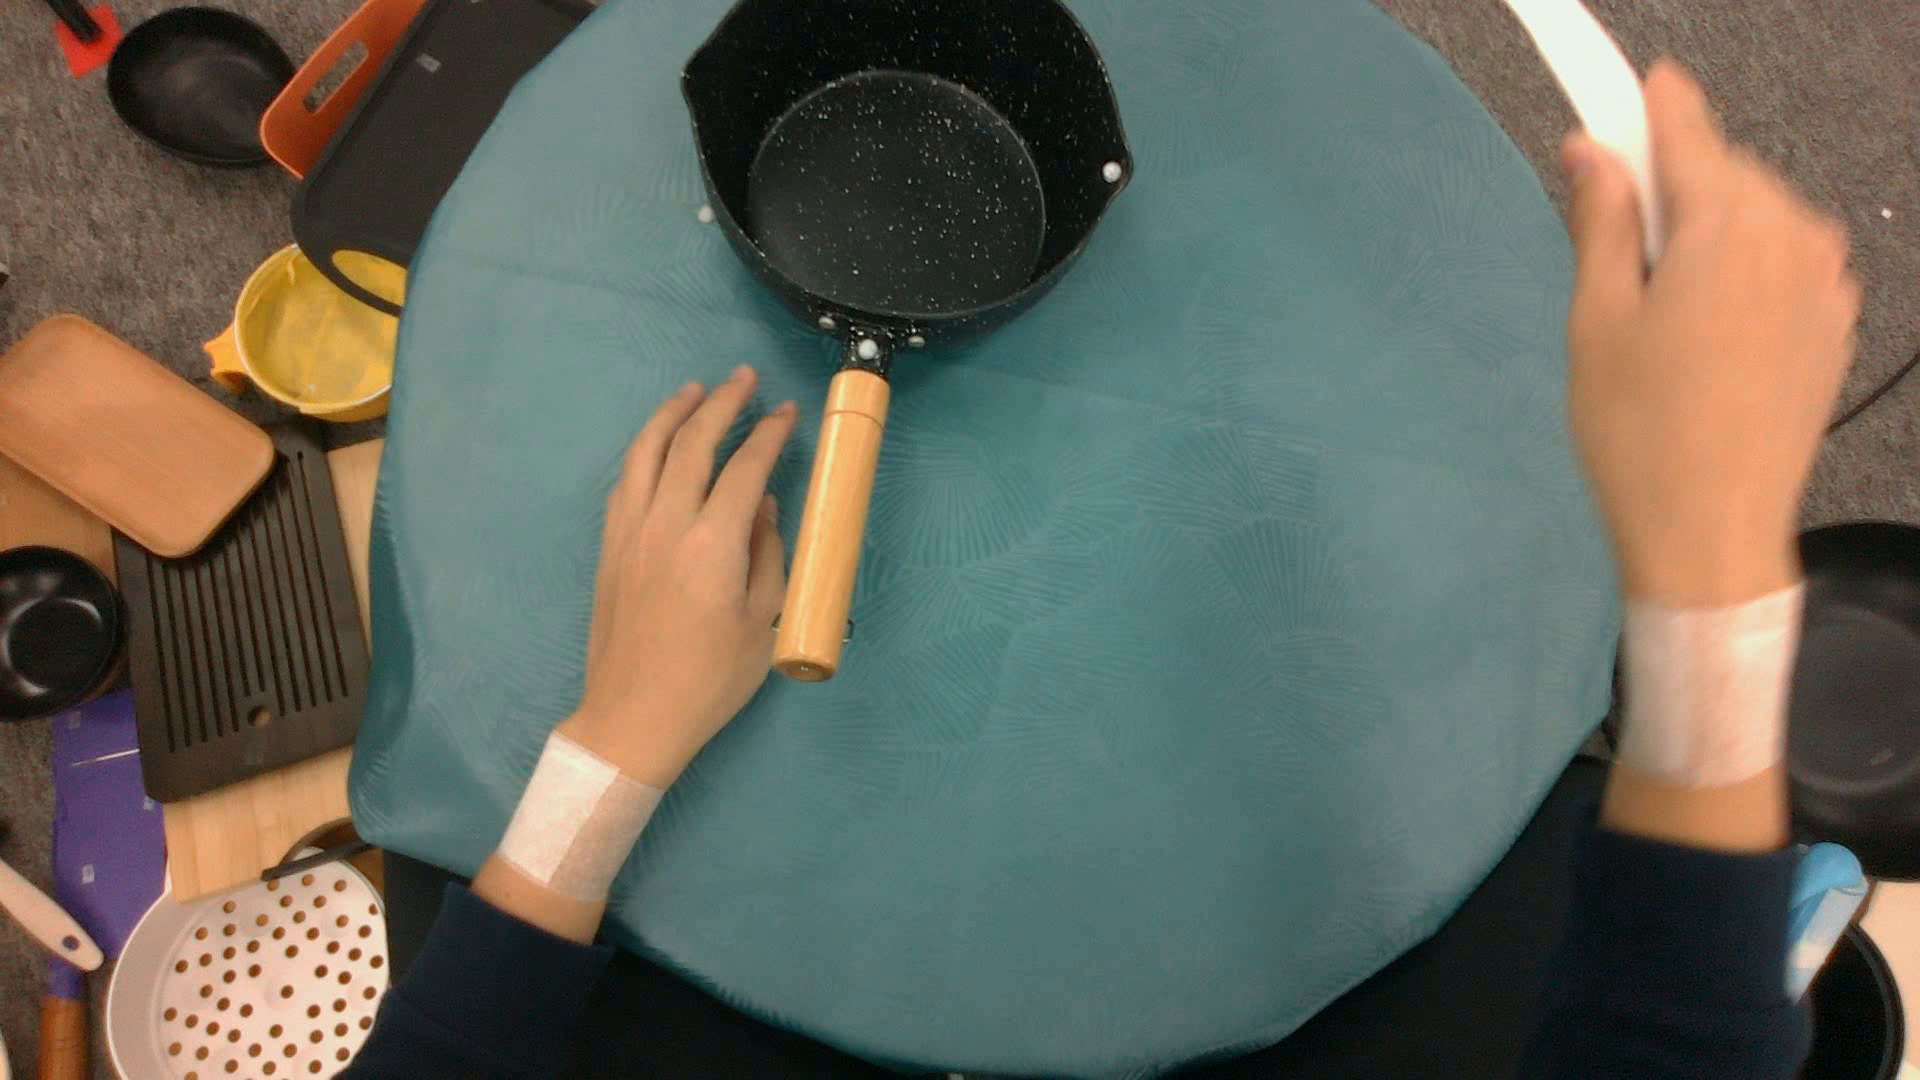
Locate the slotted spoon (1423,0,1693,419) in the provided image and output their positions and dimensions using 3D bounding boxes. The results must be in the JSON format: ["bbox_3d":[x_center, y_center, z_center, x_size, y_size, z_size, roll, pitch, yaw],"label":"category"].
[{"bbox_3d":[0.200,-0.197,0.528,0.137,0.050,0.349,-6,58,-10],"label":"slotted spoon"}]

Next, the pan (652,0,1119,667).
[{"bbox_3d":[-0.044,-0.105,0.605,0.207,0.108,0.343,10,74,-6],"label":"pan"}]
